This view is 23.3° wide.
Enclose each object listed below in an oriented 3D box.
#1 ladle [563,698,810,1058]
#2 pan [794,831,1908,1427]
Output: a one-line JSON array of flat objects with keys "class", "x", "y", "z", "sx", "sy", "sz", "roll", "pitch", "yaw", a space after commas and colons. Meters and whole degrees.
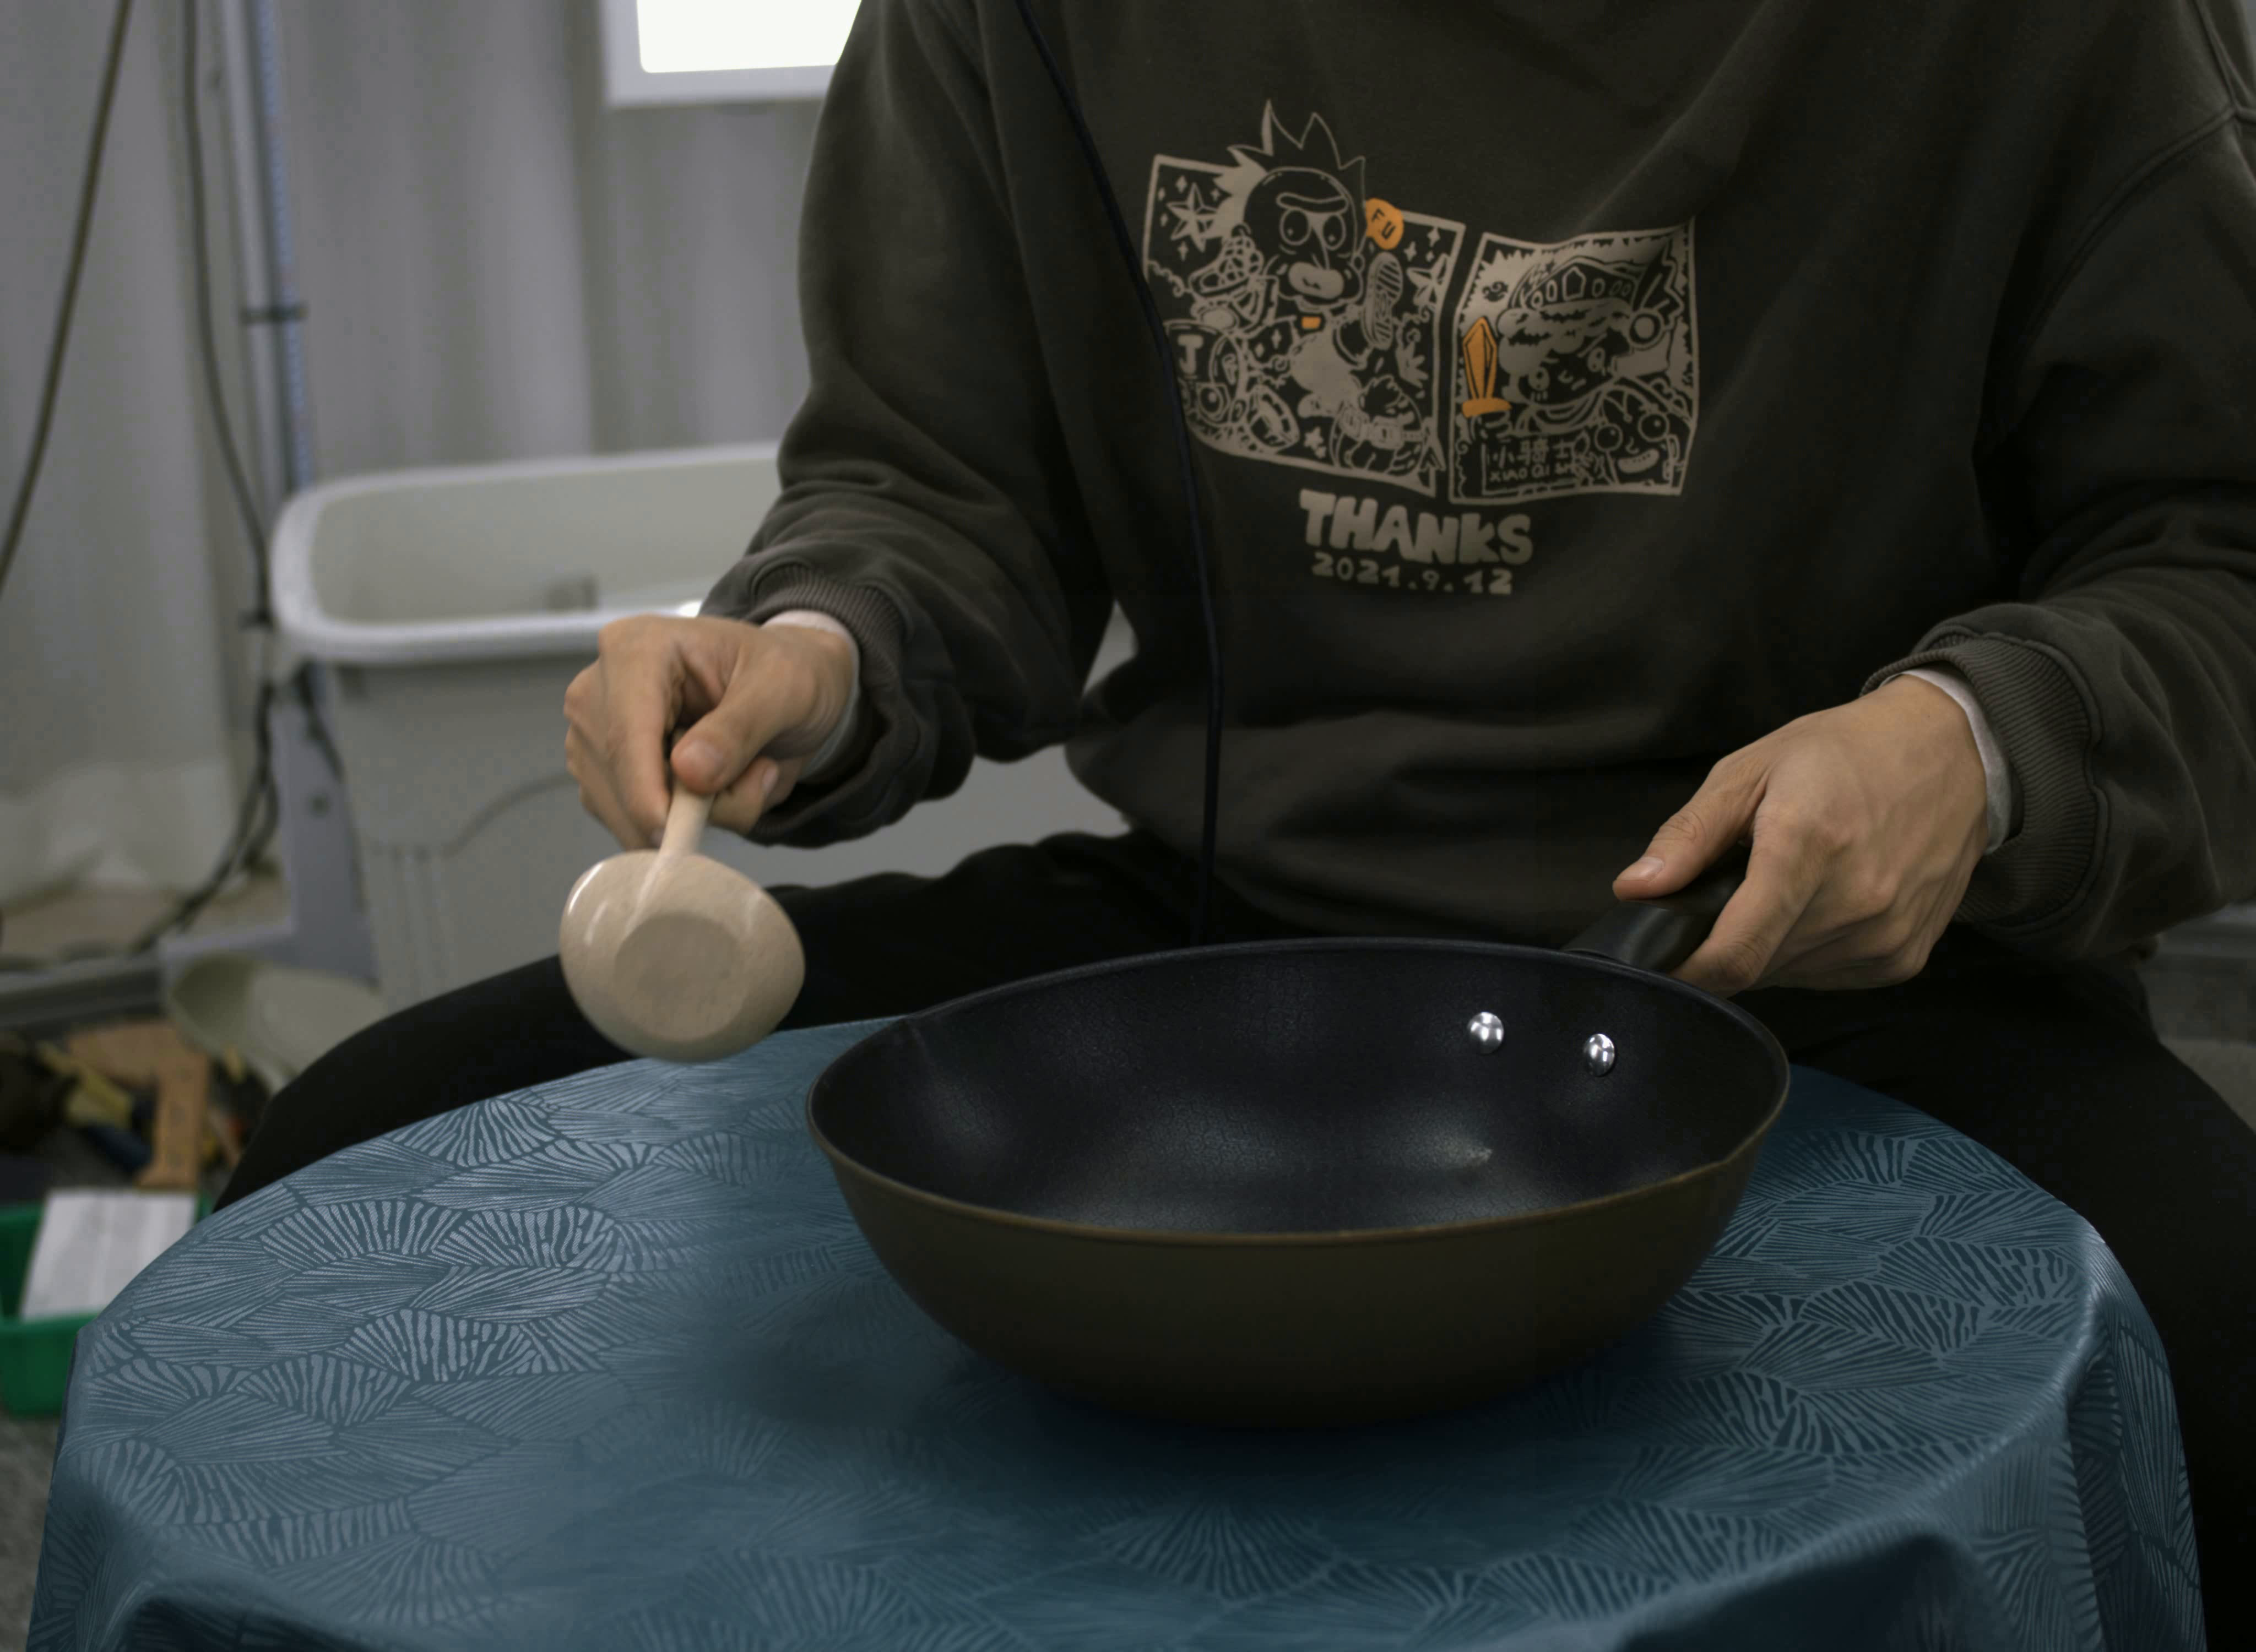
[{"class": "ladle", "x": -0.127, "y": -0.010, "z": 1.682, "sx": 0.071, "sy": 0.072, "sz": 0.257, "roll": 30, "pitch": 23, "yaw": -13}, {"class": "pan", "x": 0.102, "y": 0.088, "z": 1.644, "sx": 0.289, "sy": 0.086, "sz": 0.463, "roll": 8, "pitch": 18, "yaw": 37}]
